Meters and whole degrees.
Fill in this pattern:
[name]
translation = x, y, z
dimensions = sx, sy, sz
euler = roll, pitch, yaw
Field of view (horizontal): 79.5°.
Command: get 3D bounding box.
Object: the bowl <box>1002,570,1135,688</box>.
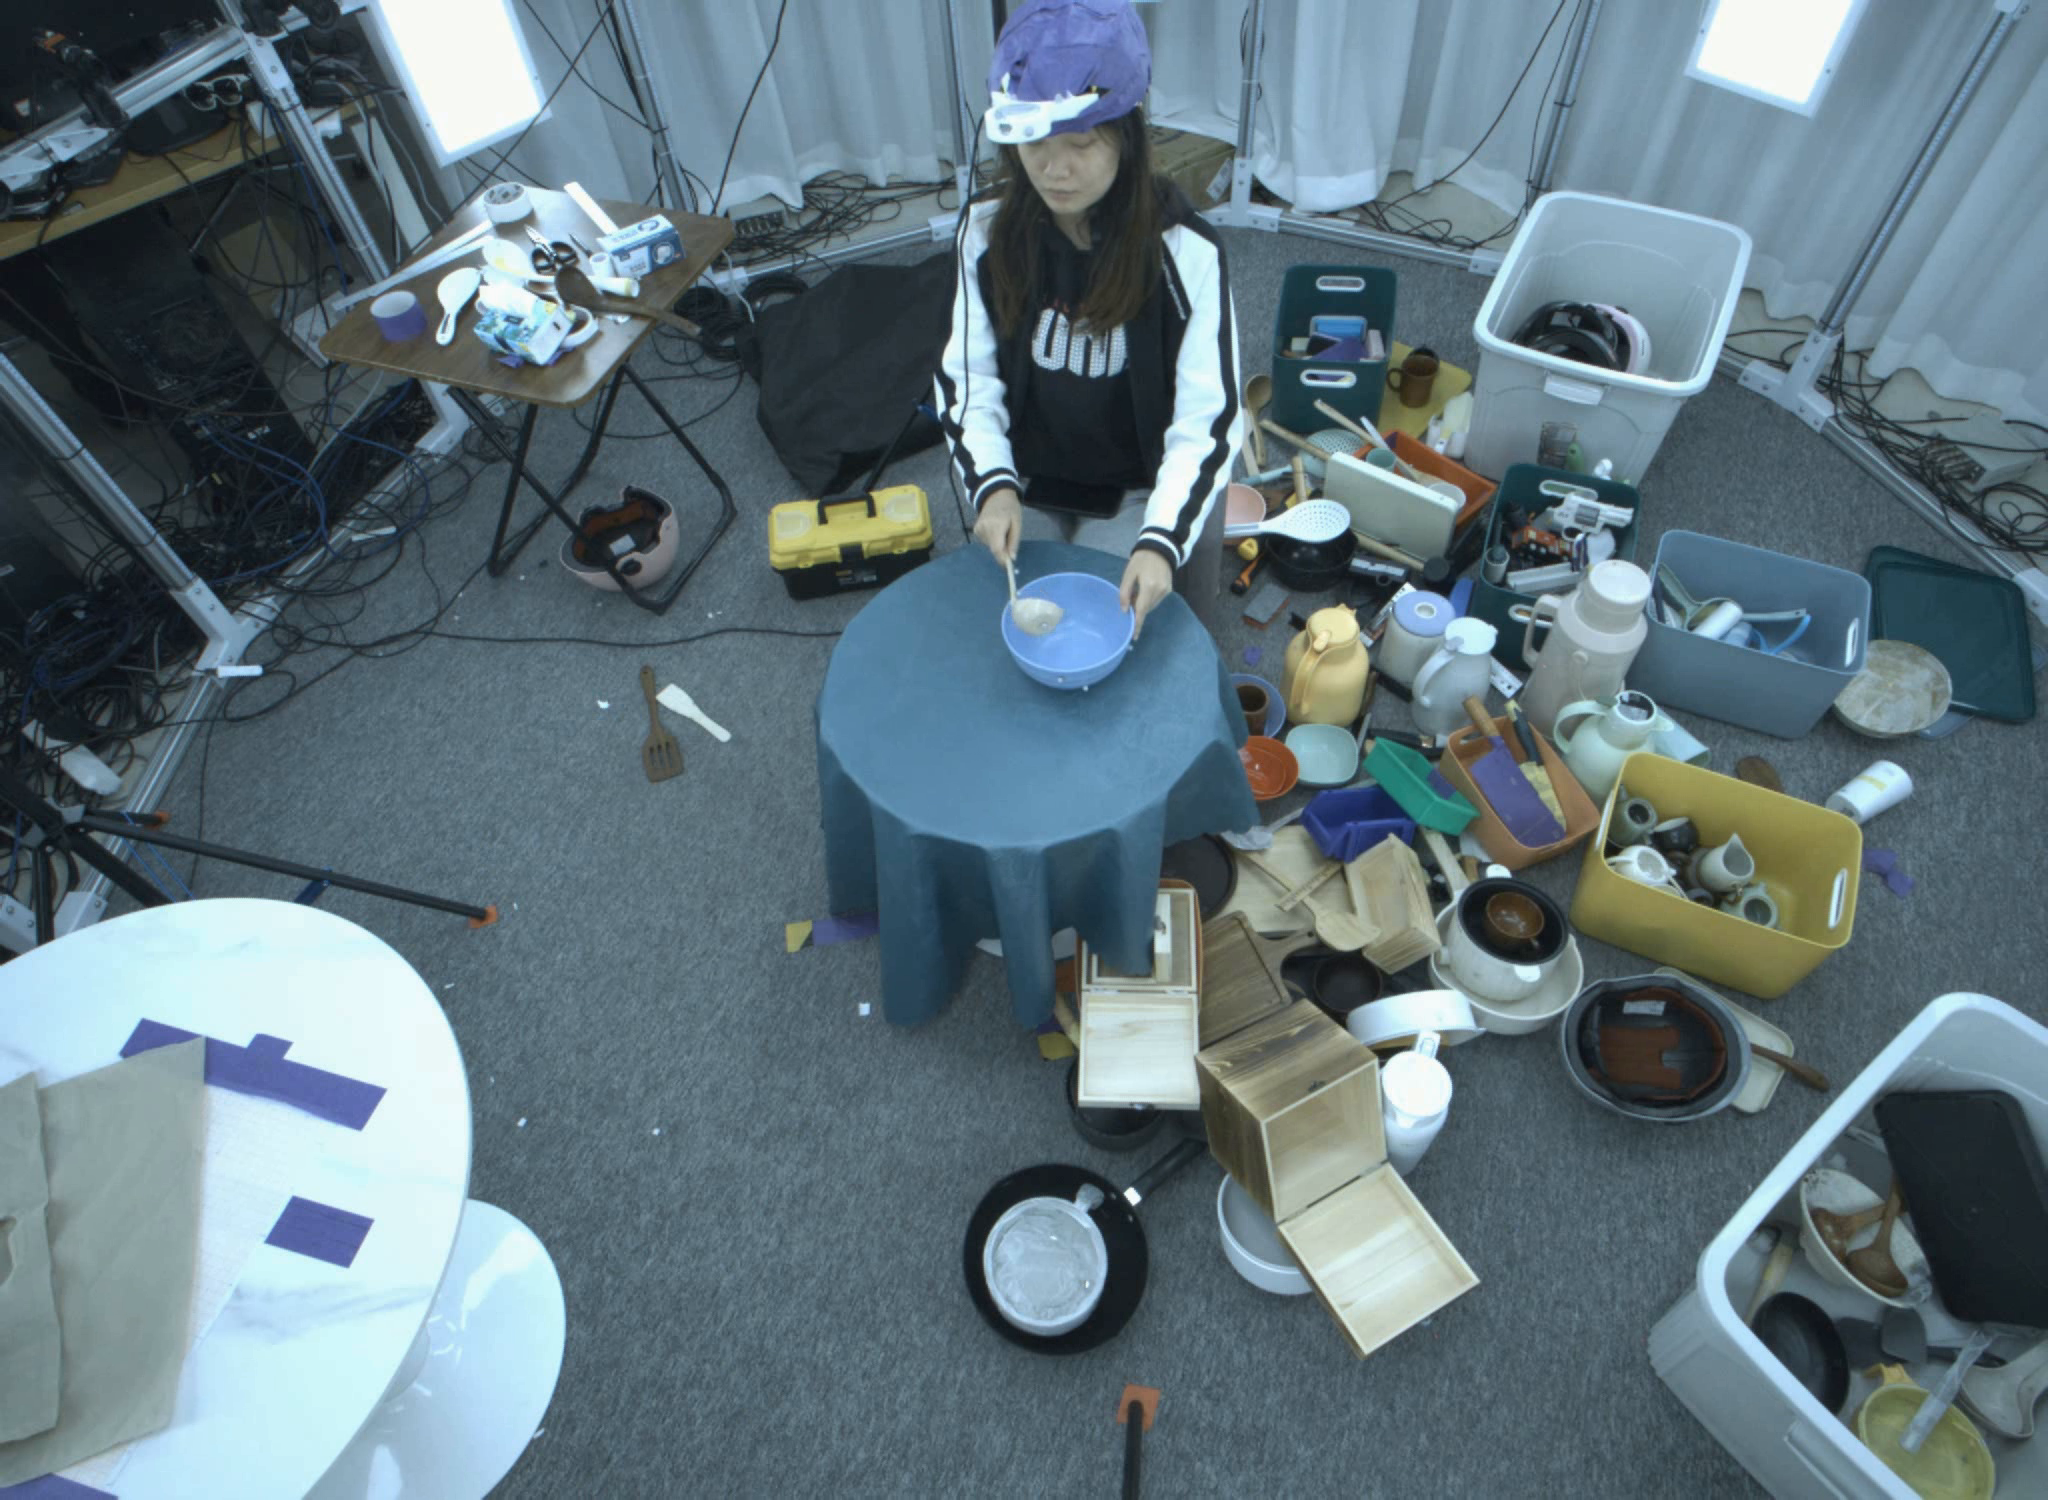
[bowl]
translation = 0.067, -0.165, 1.843
dimensions = 0.196, 0.096, 0.194
euler = 0, 57, 2

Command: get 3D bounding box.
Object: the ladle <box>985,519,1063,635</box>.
[ladle]
translation = -0.004, -0.276, 1.813
dimensions = 0.072, 0.074, 0.250
euler = -37, 52, 29
